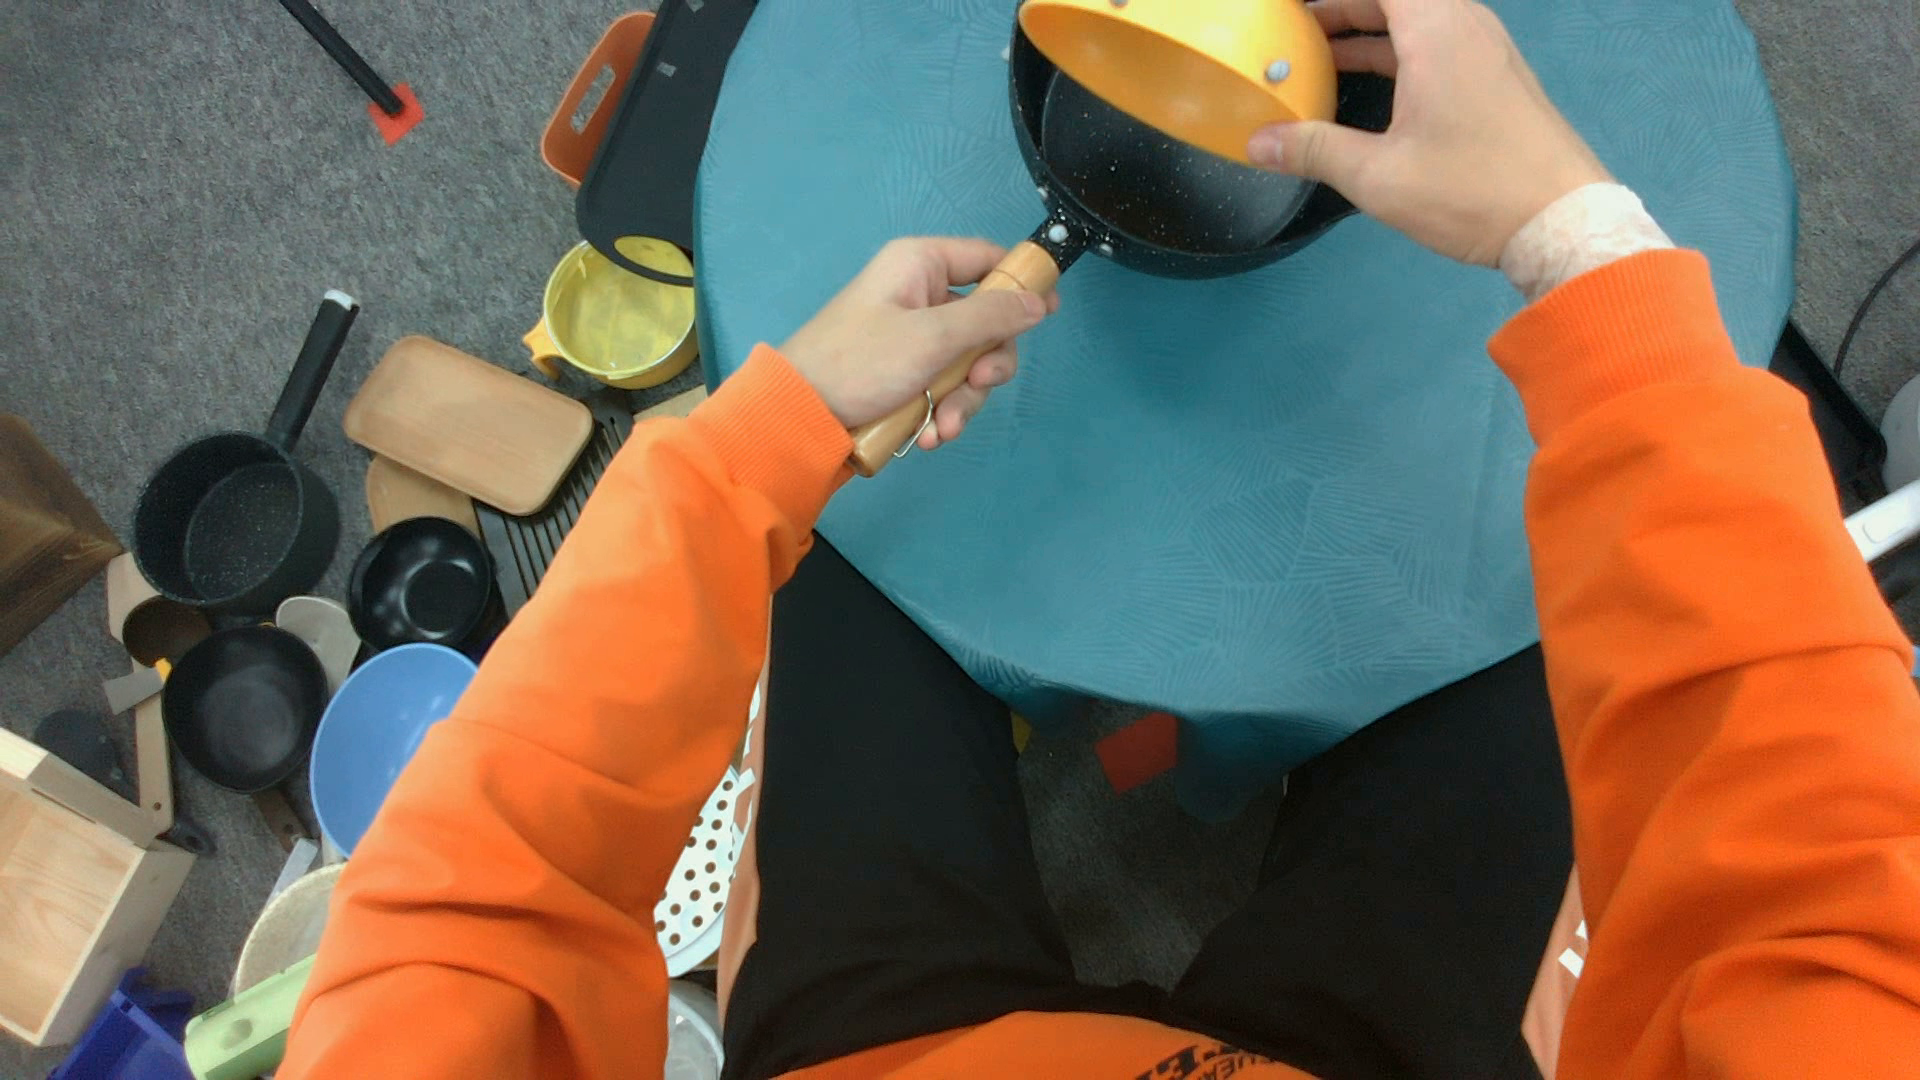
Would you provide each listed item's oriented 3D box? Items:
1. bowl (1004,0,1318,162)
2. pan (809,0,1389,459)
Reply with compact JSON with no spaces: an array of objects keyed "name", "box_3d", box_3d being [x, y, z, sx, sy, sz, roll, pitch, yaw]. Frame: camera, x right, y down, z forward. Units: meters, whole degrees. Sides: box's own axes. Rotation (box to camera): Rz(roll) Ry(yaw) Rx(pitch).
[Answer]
[{"name":"bowl","box_3d":[0.095,-0.221,0.587,0.145,0.145,0.060,27,97,11]},{"name":"pan","box_3d":[0.053,-0.161,0.650,0.207,0.108,0.343,39,83,2]}]
